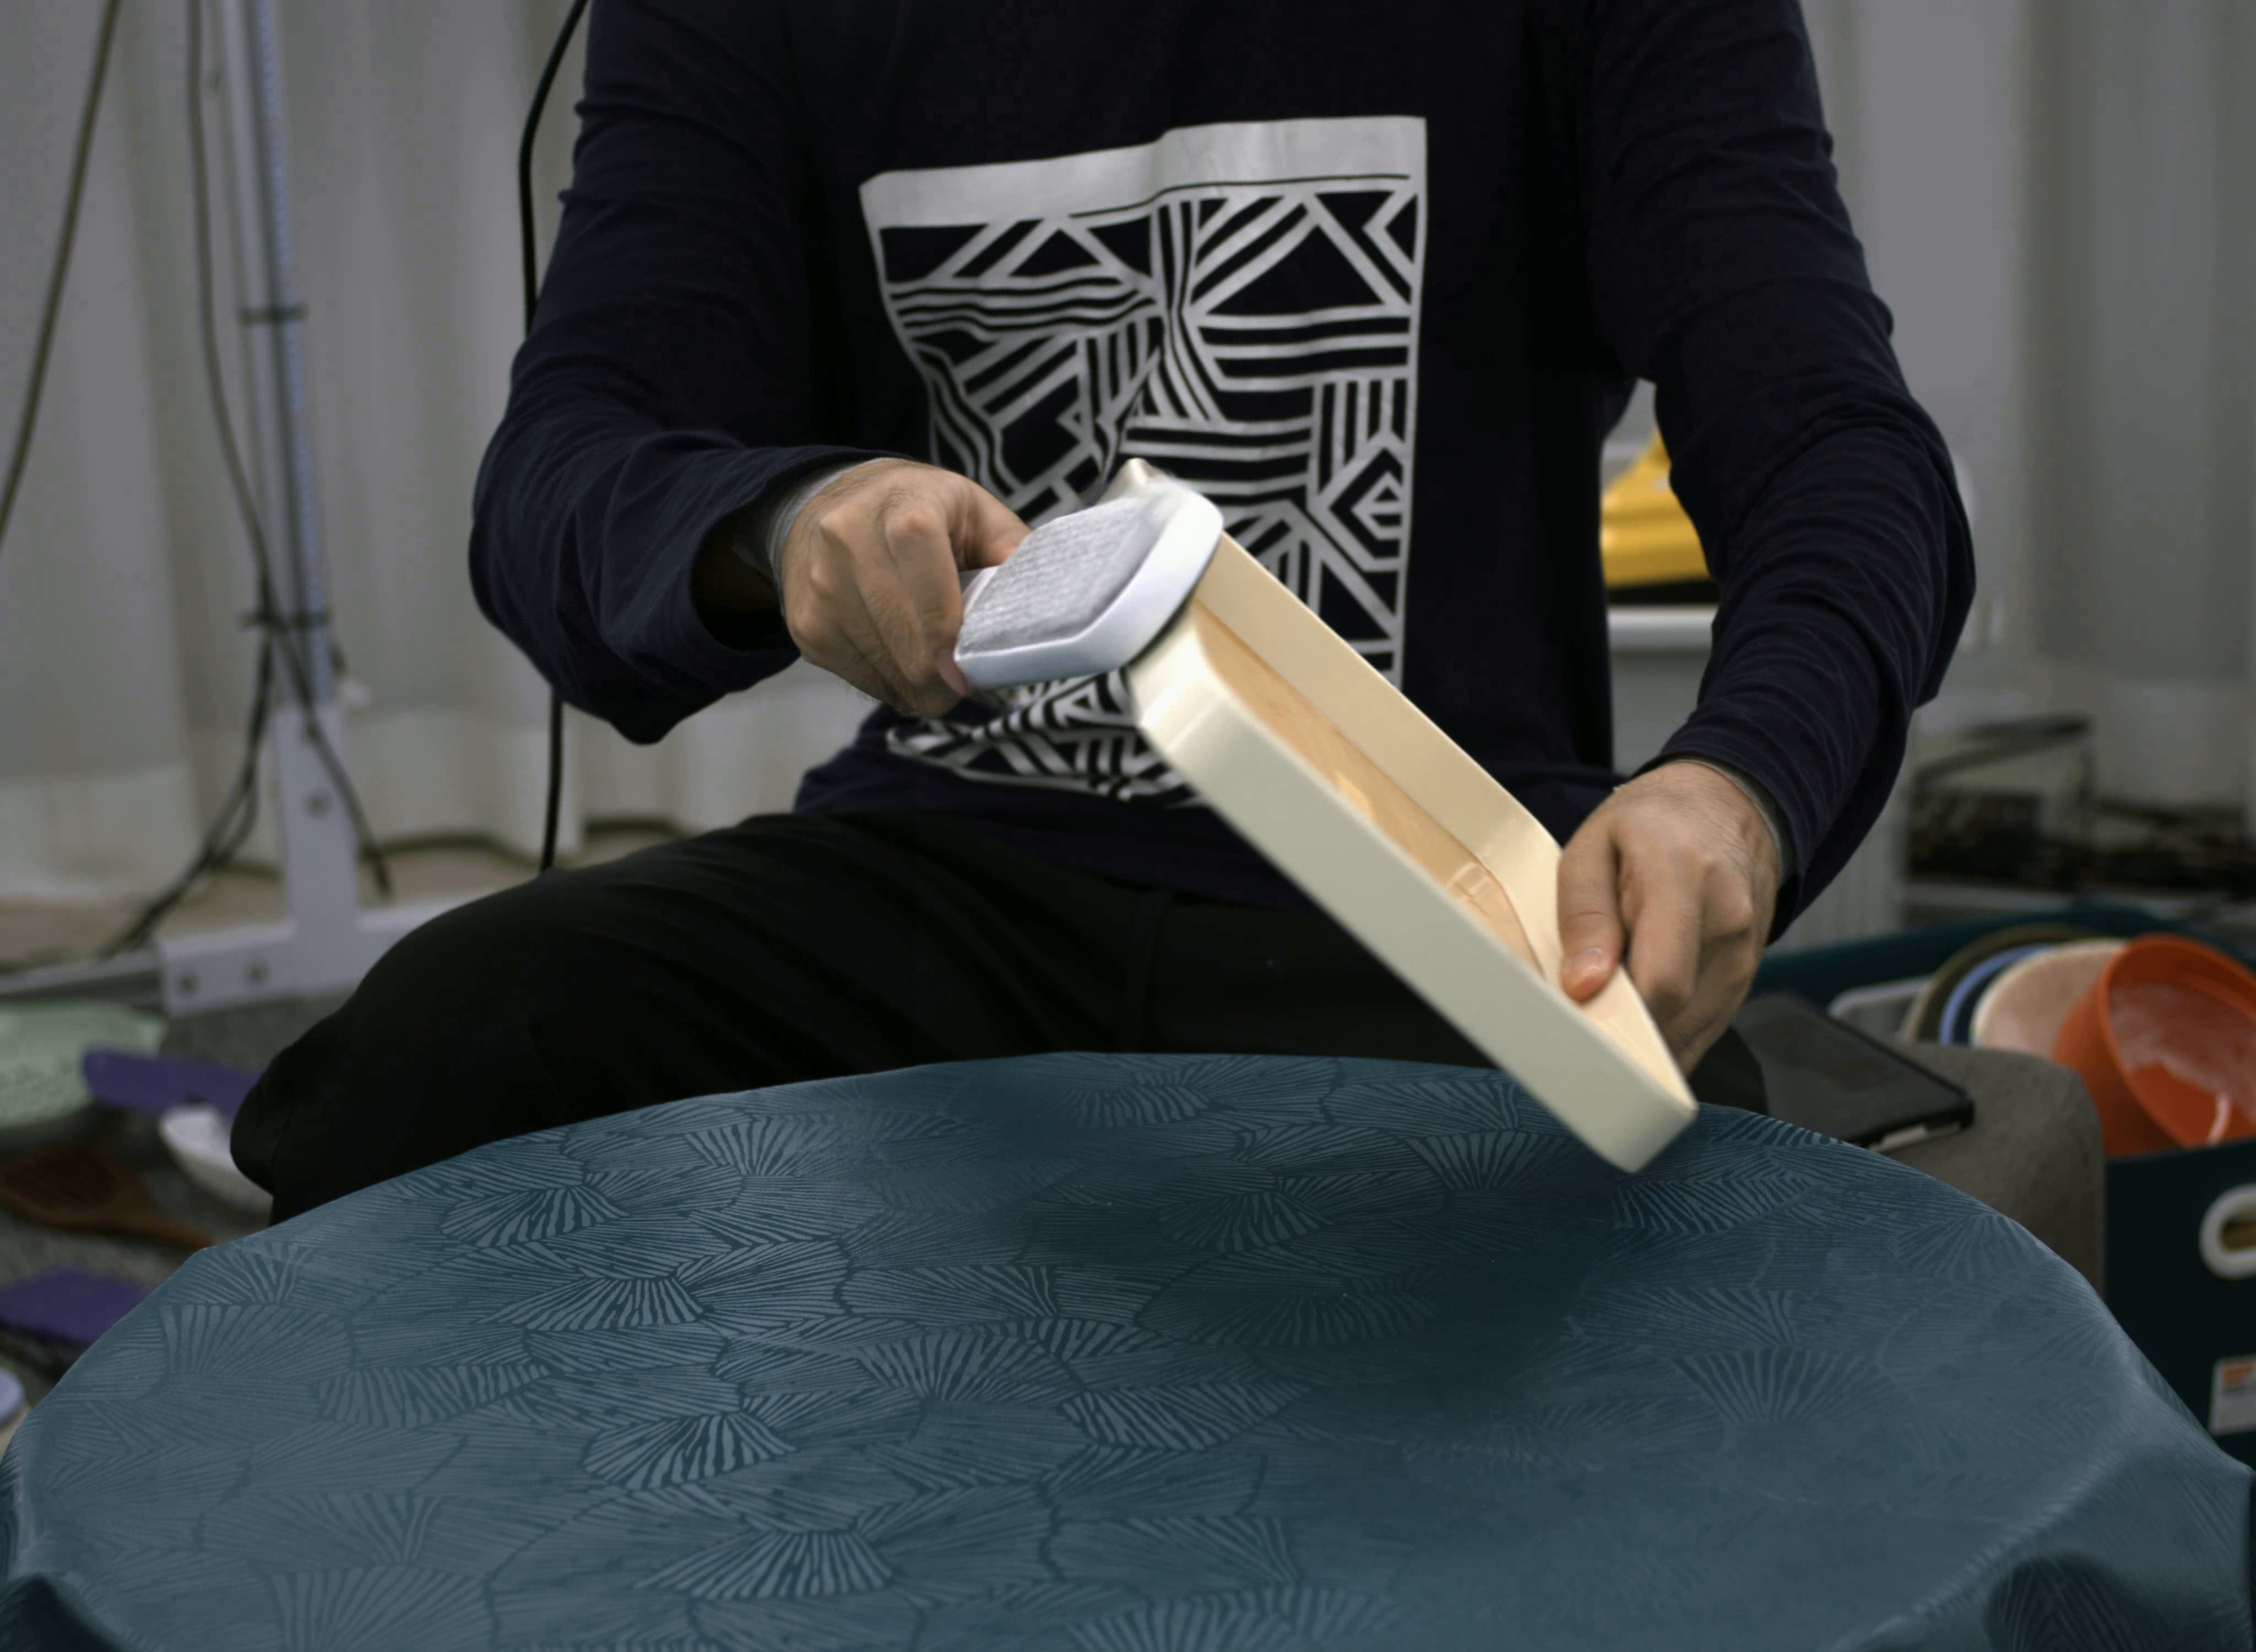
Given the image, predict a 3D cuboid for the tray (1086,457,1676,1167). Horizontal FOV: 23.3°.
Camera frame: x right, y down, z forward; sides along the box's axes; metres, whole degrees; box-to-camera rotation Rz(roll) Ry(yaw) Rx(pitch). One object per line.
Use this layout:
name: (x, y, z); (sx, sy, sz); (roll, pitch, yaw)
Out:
tray: (0.065, -0.011, 1.601); (0.027, 0.190, 0.302); (-46, 12, 8)

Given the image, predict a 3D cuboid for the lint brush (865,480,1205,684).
lint brush: (-0.033, -0.069, 1.628); (0.021, 0.060, 0.309); (33, -9, -13)
